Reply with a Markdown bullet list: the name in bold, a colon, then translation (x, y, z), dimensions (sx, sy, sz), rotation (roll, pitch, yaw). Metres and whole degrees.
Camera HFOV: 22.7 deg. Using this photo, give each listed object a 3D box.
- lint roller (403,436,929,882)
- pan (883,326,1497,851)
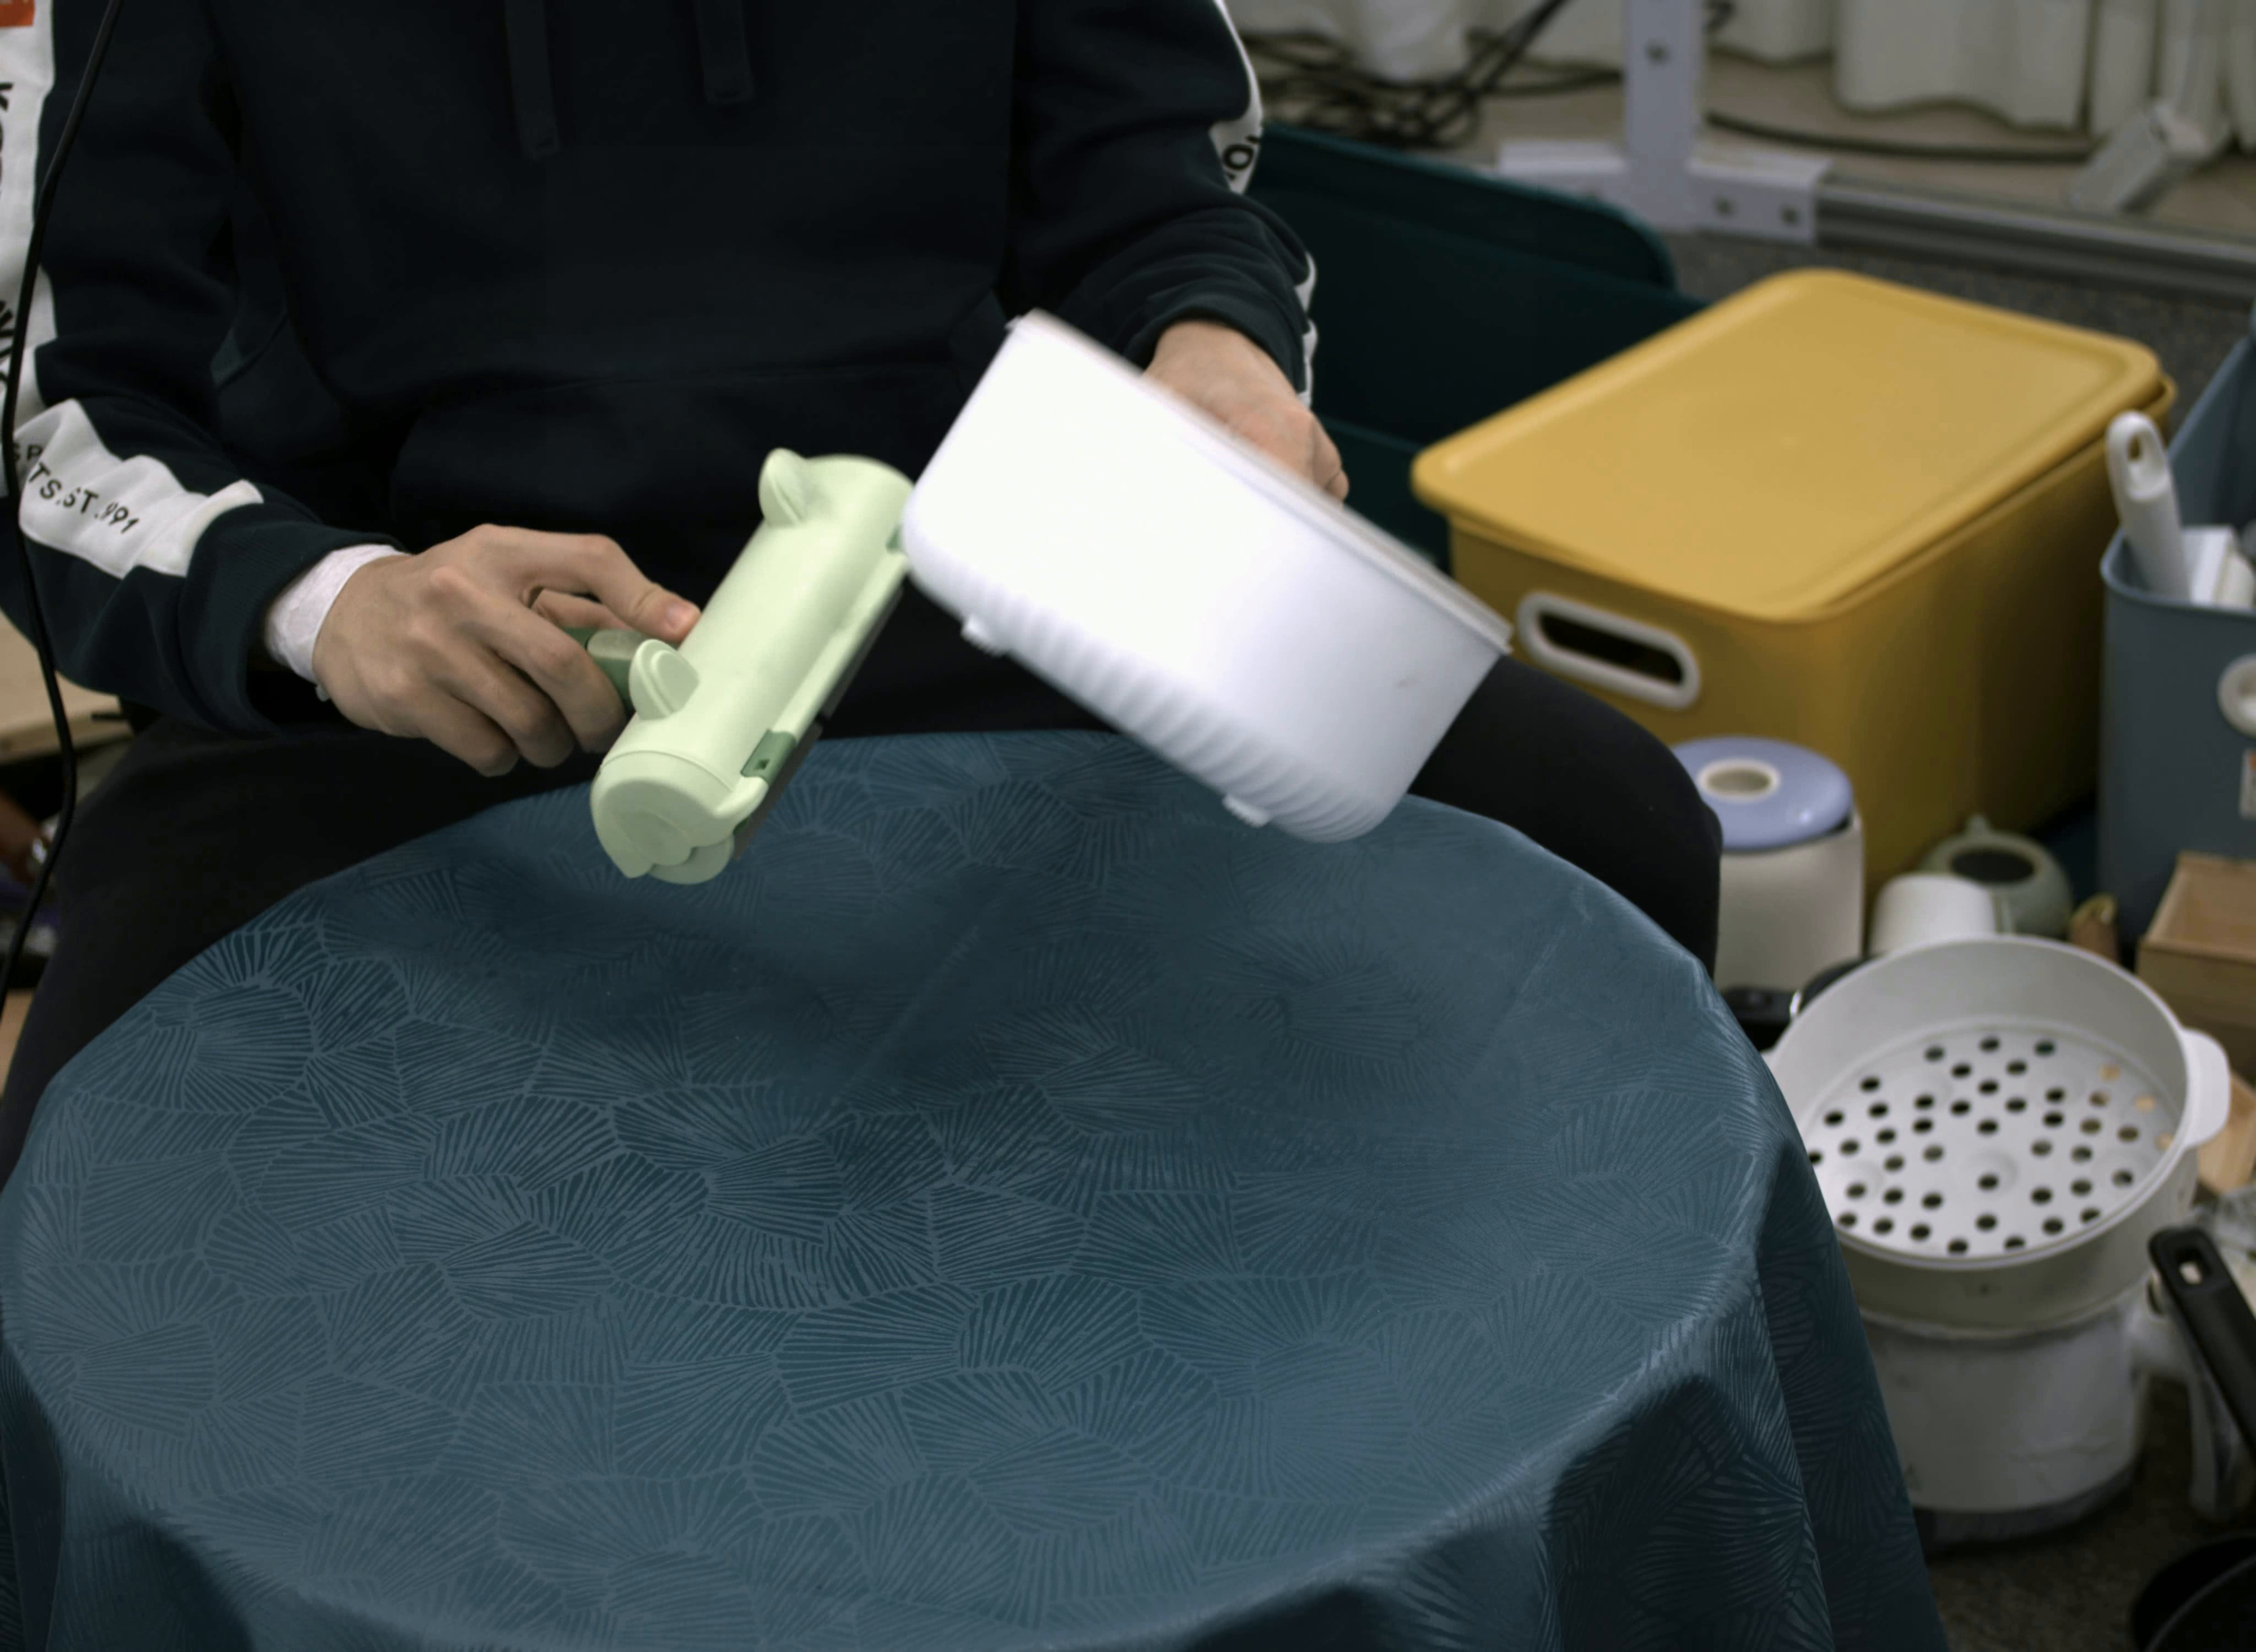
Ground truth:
- **lint roller**: translation (-0.178, -0.068, 1.956), dimensions (0.182, 0.081, 0.202), rotation (4, 39, 21)
- **pan**: translation (0.012, -0.078, 1.963), dimensions (0.201, 0.102, 0.355), rotation (32, 1, -4)
